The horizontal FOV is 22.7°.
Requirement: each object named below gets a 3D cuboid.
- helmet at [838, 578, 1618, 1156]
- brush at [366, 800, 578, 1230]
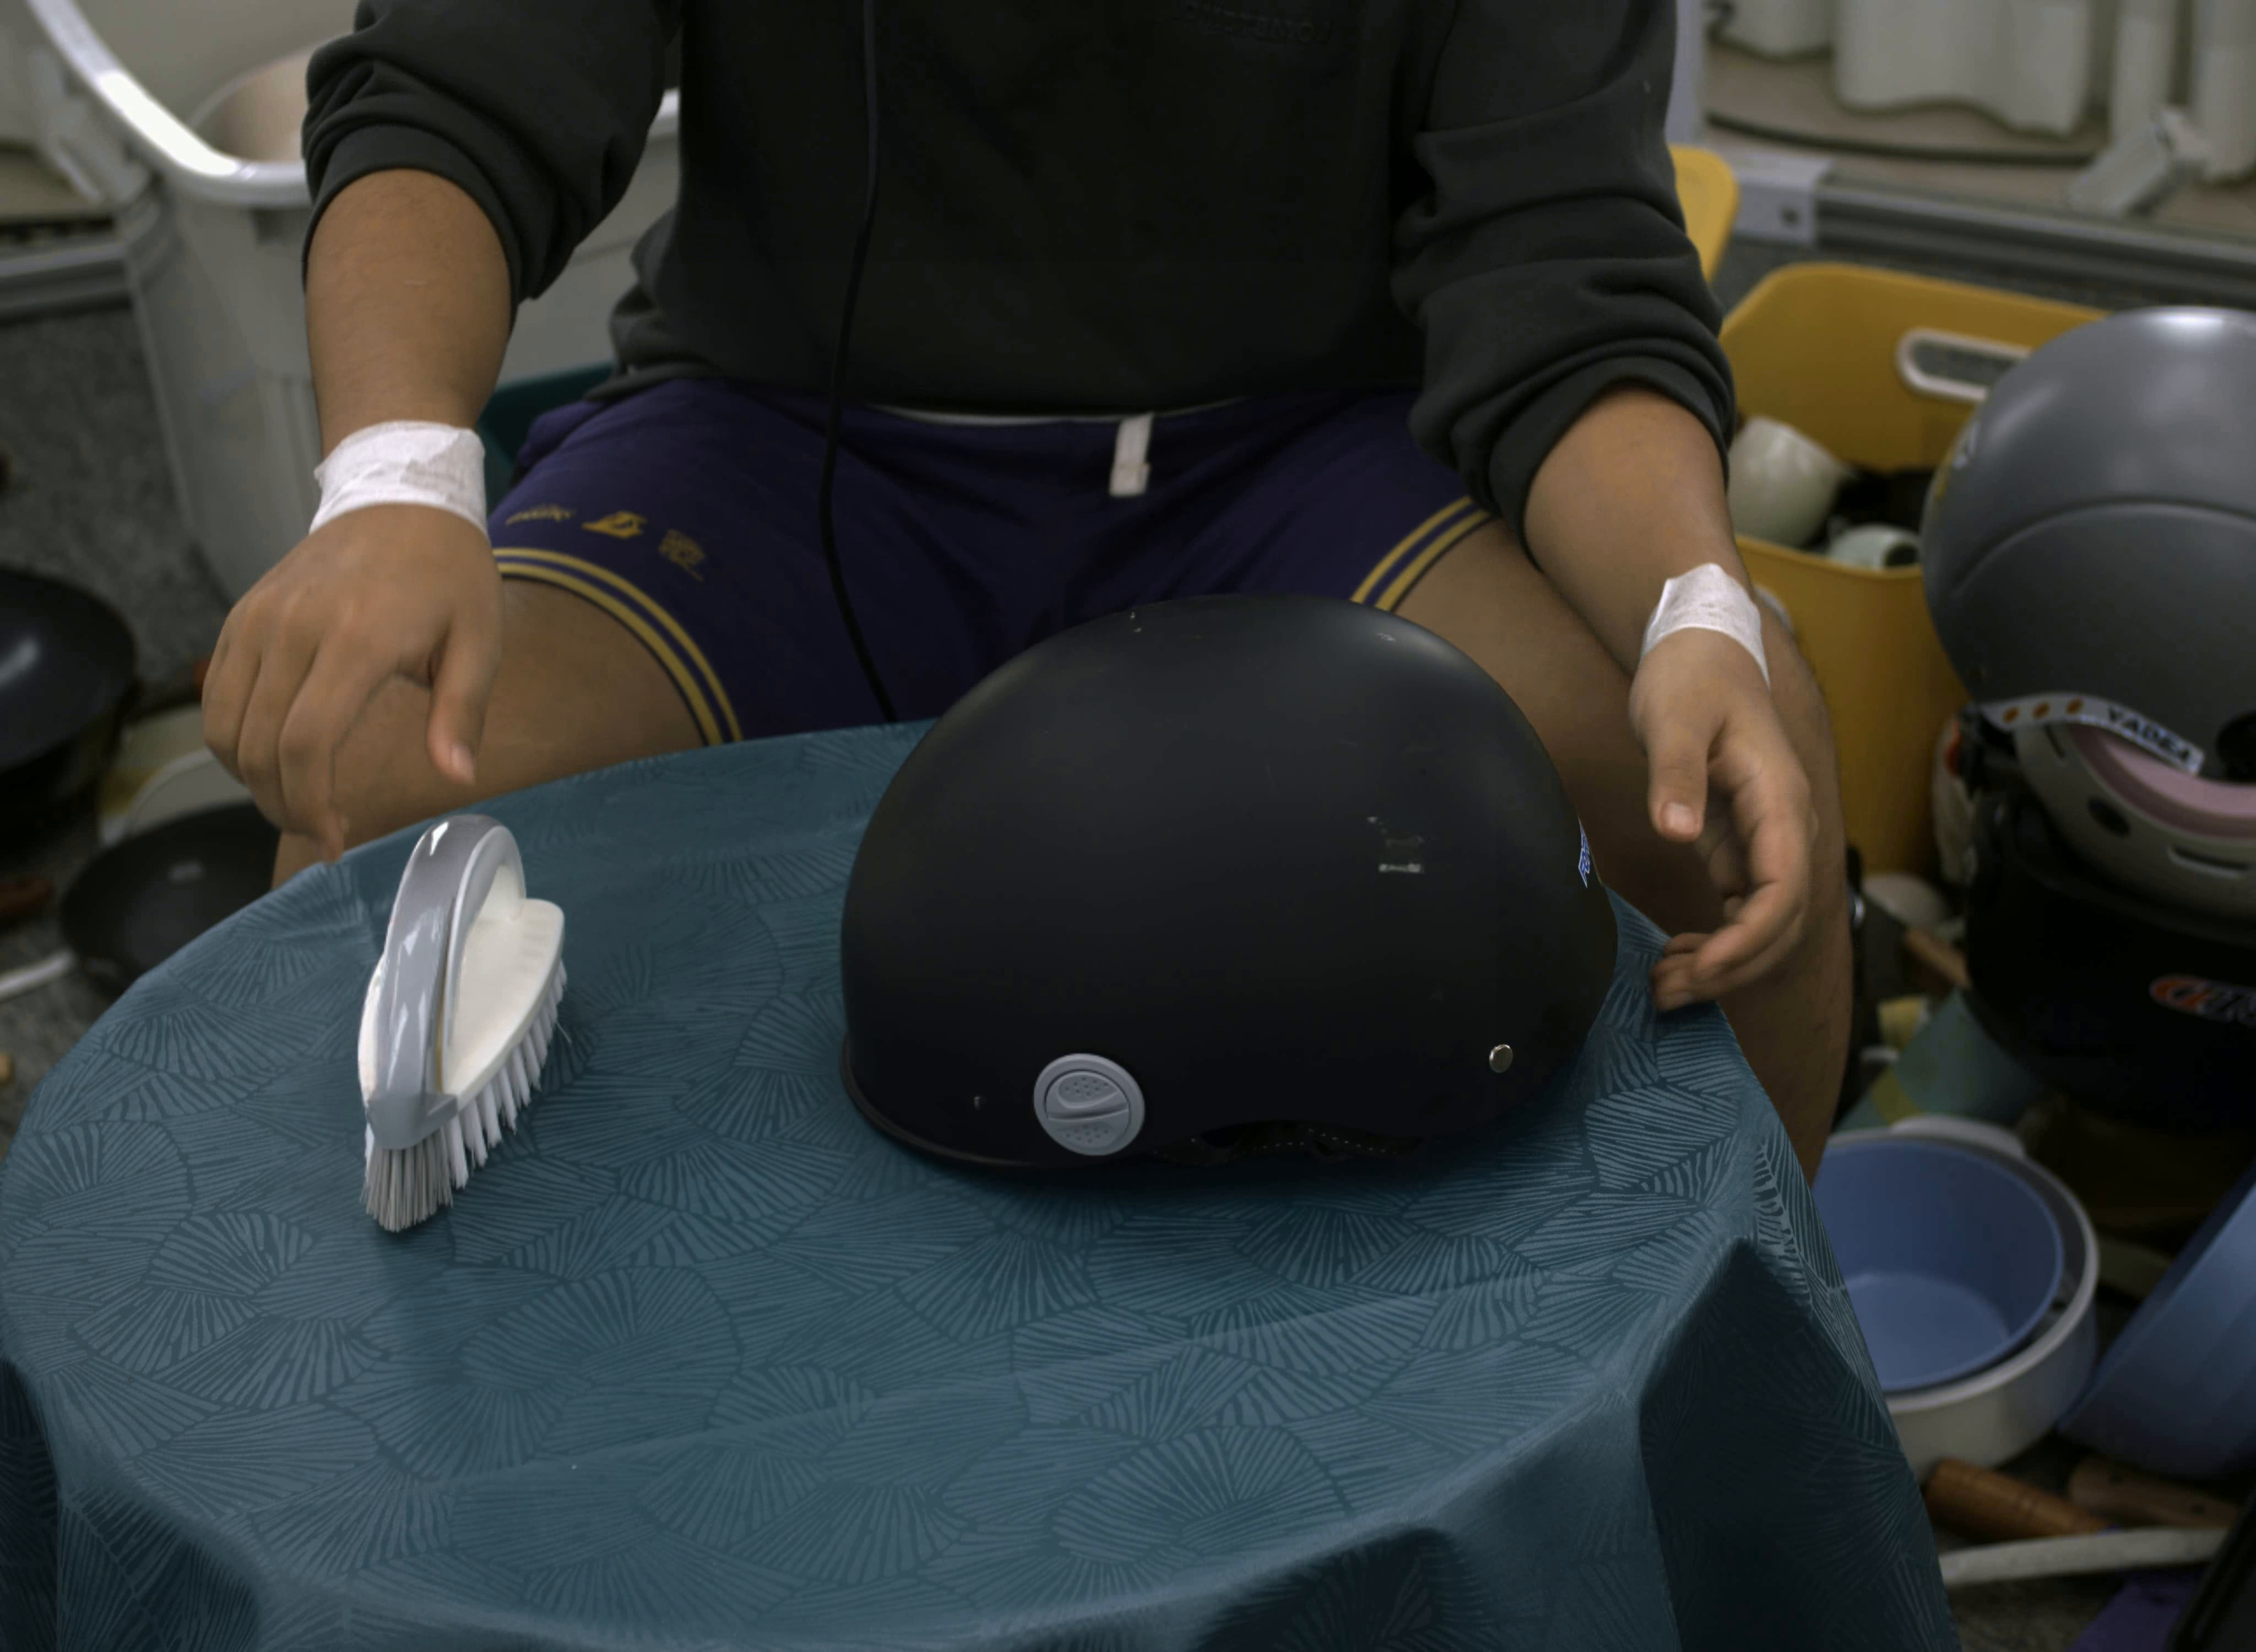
[{"bbox_3d":[0.028,0.004,1.915,0.271,0.165,0.234,-2,26,6],"label":"helmet"},{"bbox_3d":[-0.232,0.056,1.912,0.061,0.093,0.178,-2,29,7],"label":"brush"}]
